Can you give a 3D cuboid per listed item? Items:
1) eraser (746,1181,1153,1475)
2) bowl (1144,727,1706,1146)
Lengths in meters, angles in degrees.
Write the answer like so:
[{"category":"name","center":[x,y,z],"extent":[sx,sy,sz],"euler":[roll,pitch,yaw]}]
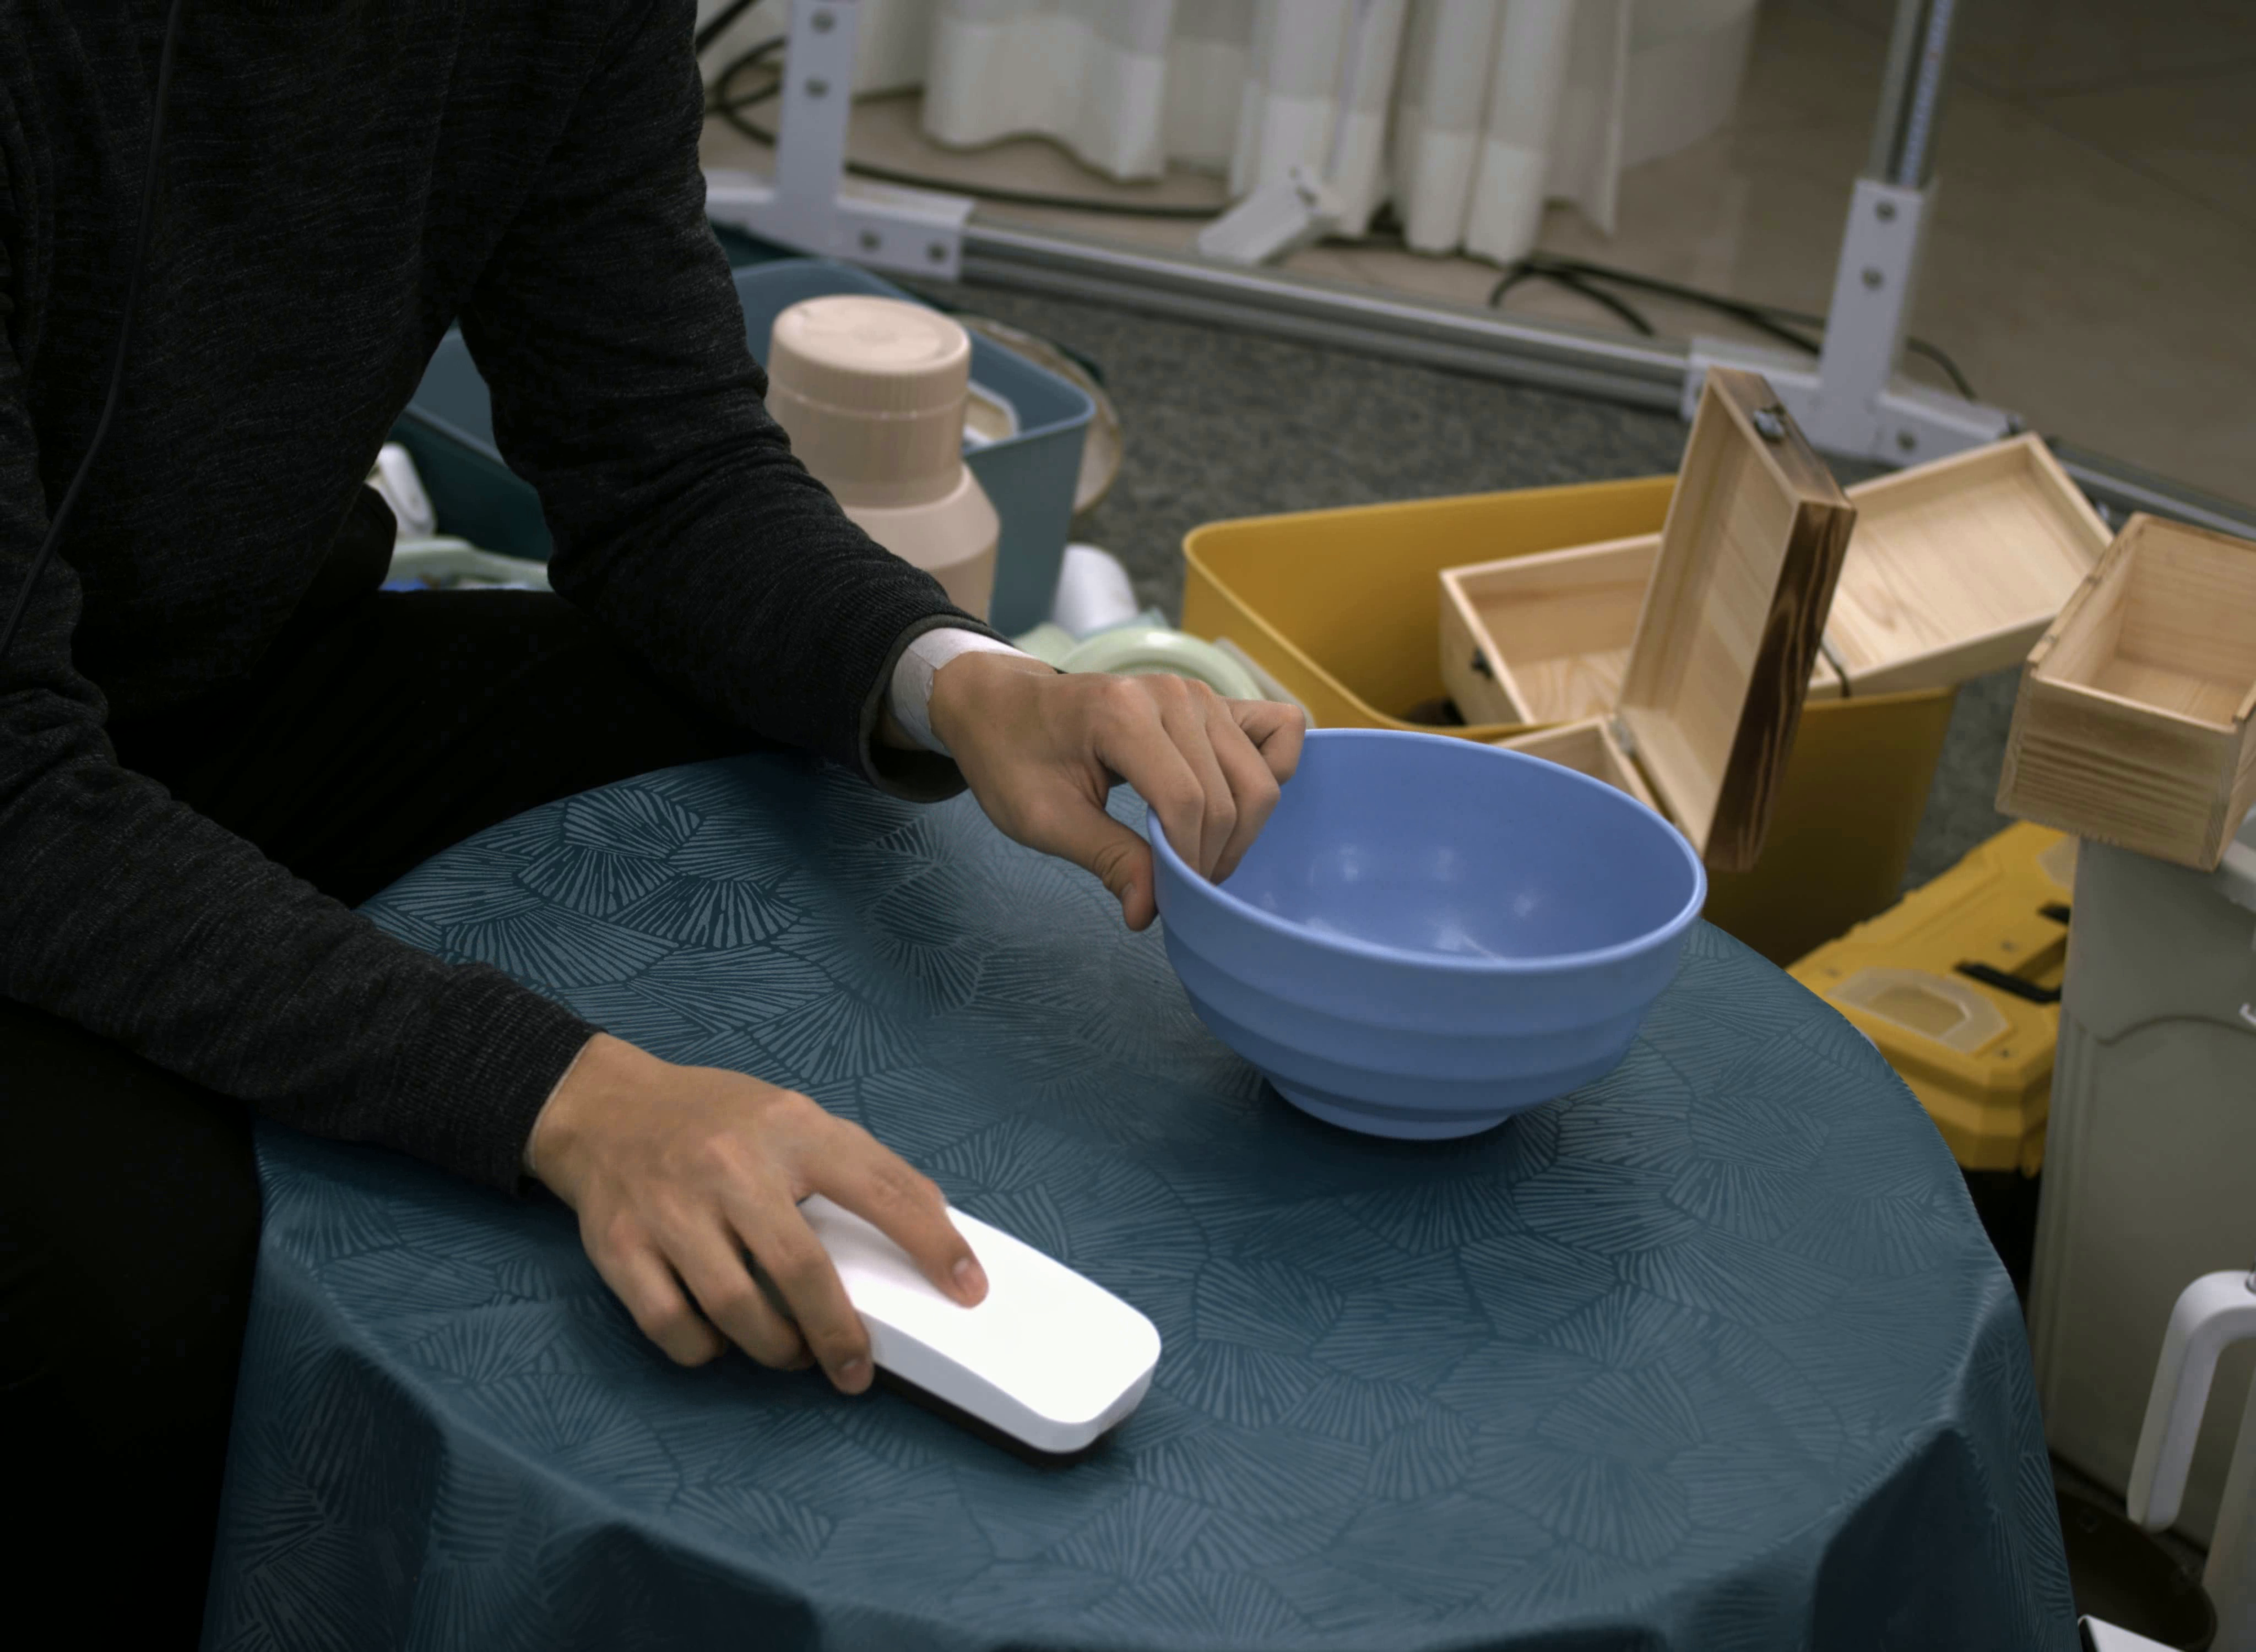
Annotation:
[{"category":"eraser","center":[-0.057,0.155,1.681],"extent":[0.132,0.034,0.063],"euler":[27,37,24]},{"category":"bowl","center":[0.098,0.049,1.864],"extent":[0.196,0.095,0.197],"euler":[6,25,-3]}]
